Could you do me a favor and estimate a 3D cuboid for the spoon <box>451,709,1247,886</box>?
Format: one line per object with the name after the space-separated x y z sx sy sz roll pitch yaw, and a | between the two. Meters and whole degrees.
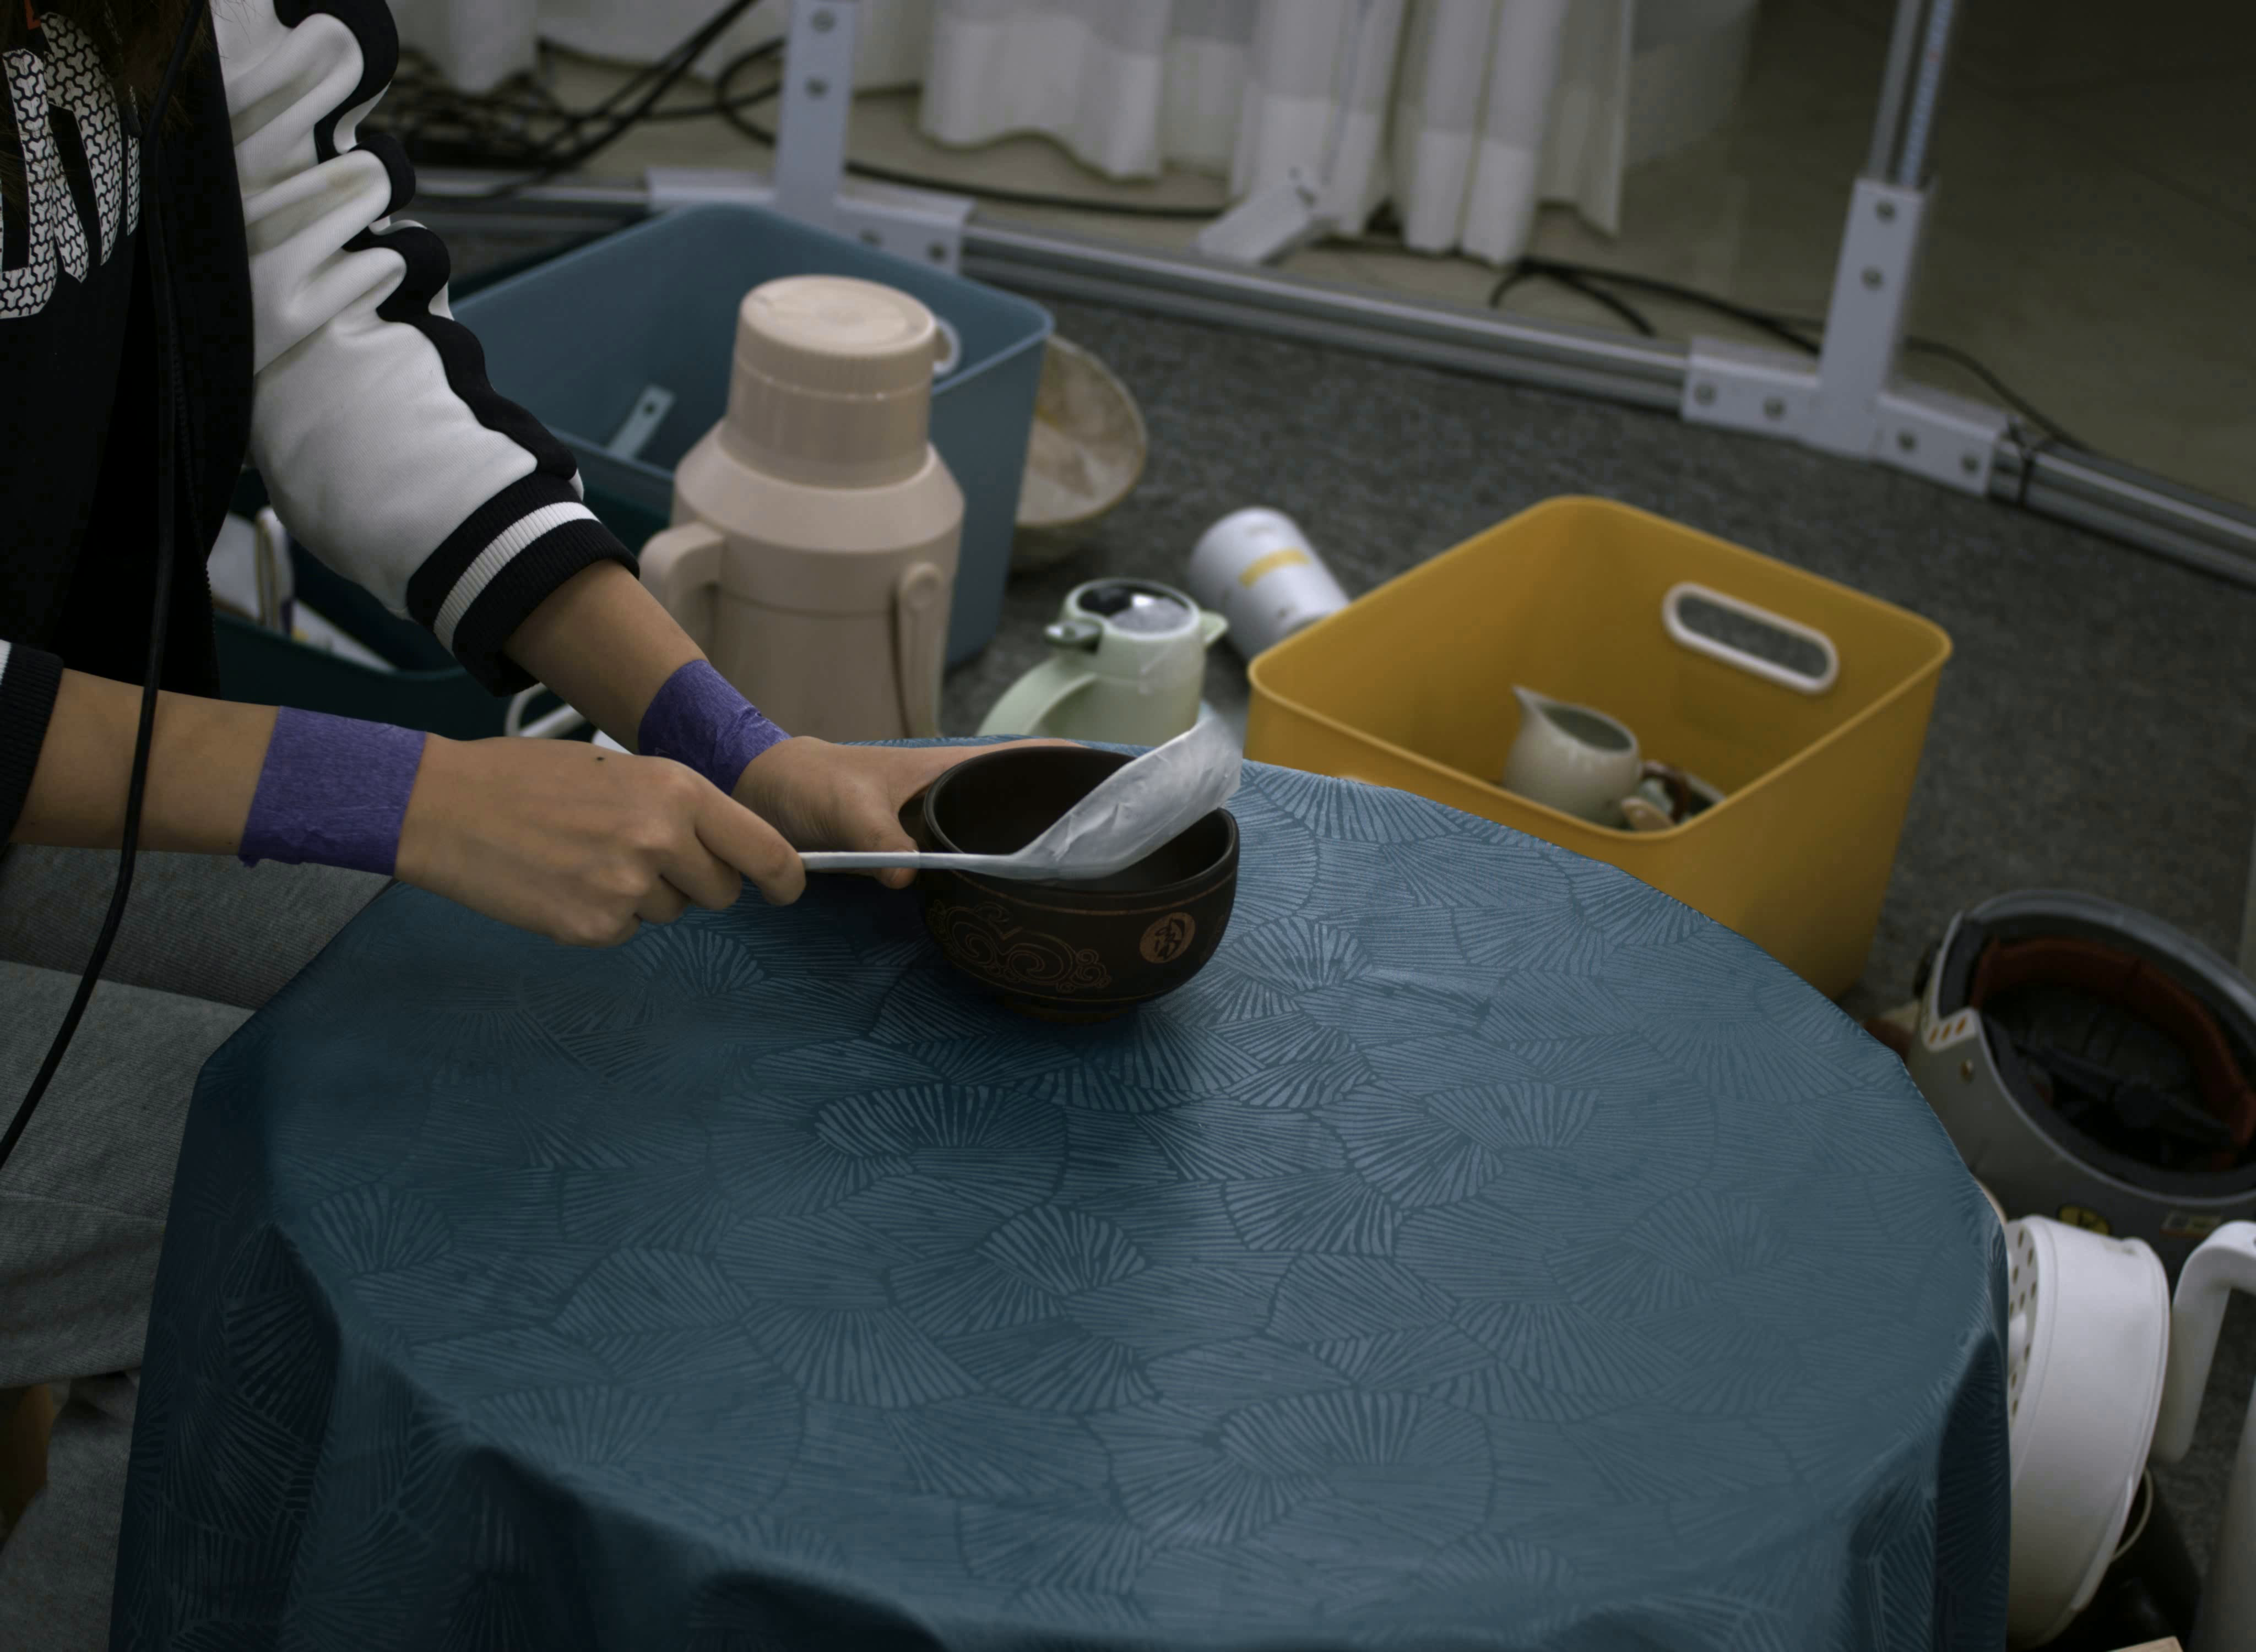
-0.097 -0.008 1.857 0.277 0.100 0.060 0 70 1 | spoon

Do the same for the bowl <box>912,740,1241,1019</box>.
-0.020 0.026 1.909 0.117 0.069 0.119 5 27 -3 | bowl
